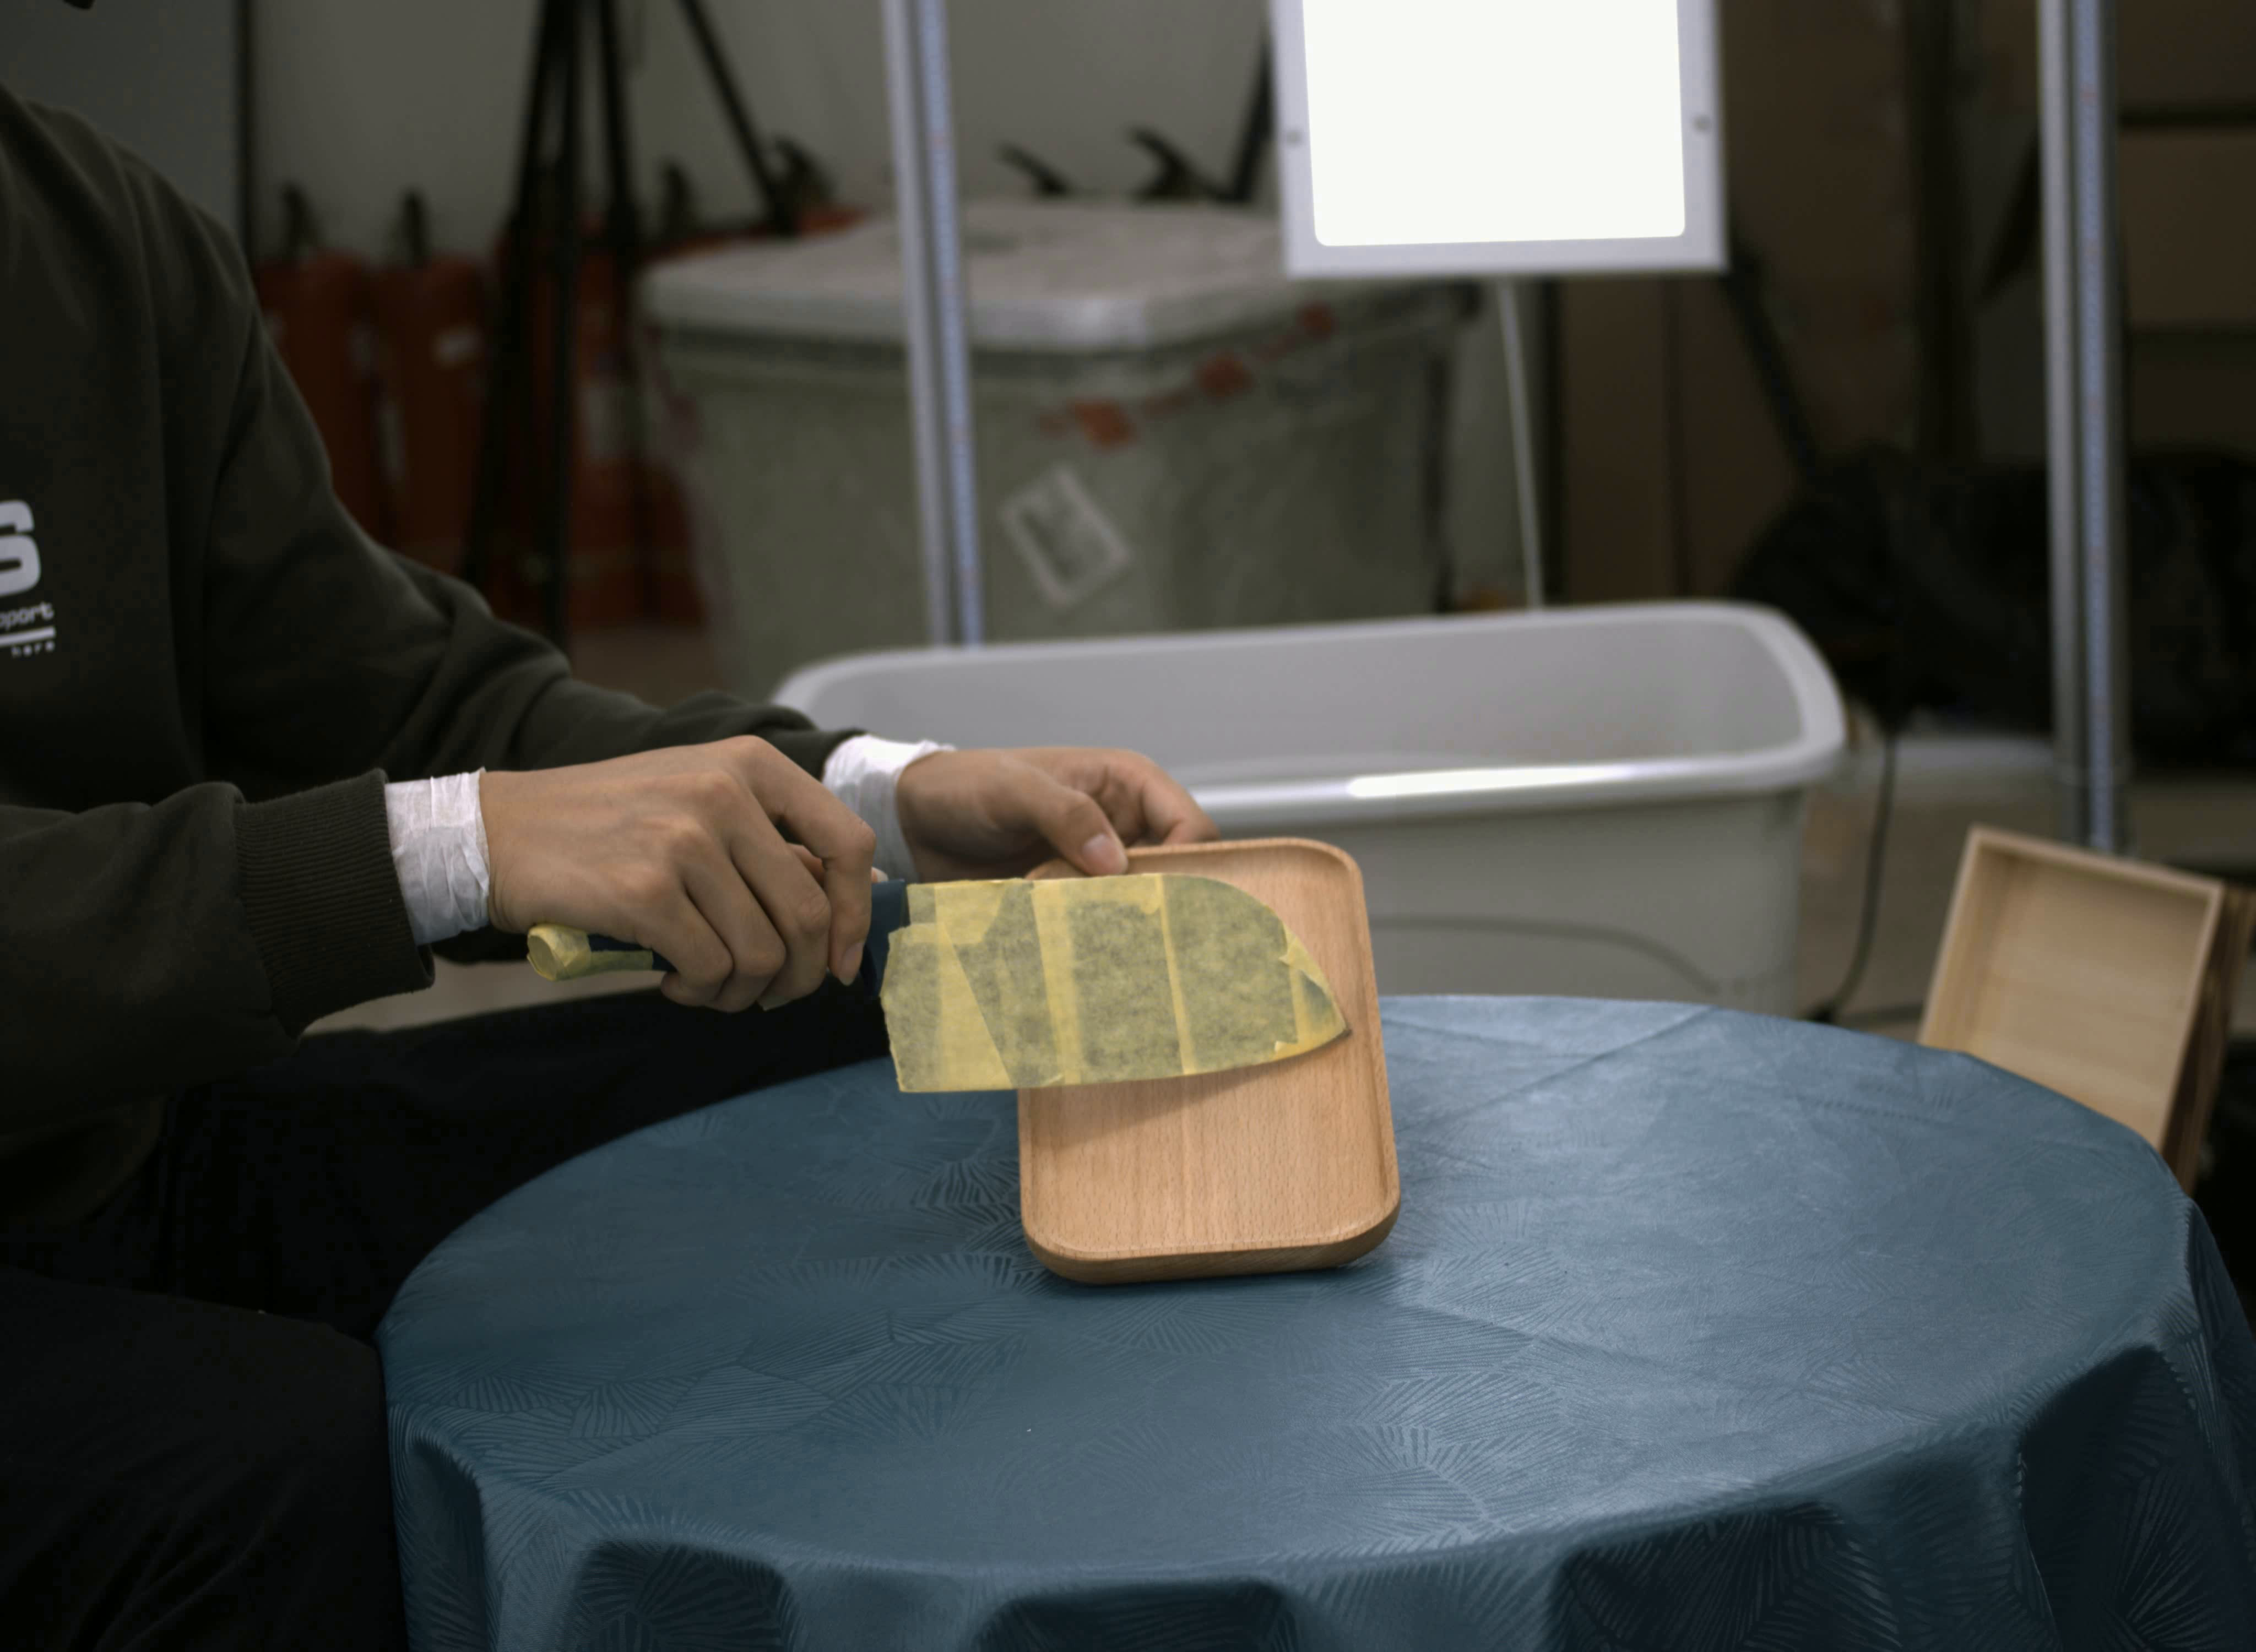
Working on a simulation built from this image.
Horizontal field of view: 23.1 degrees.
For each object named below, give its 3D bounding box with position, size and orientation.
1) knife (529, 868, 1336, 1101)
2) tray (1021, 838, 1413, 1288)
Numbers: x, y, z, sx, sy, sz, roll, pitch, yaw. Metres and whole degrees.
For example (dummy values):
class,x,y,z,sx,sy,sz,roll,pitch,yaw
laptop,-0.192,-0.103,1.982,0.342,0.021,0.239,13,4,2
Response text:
class,x,y,z,sx,sy,sz,roll,pitch,yaw
knife,-0.061,0.053,1.853,0.284,0.081,0.027,-1,-18,-20
tray,0.028,0.079,1.901,0.130,0.023,0.250,-7,33,3
